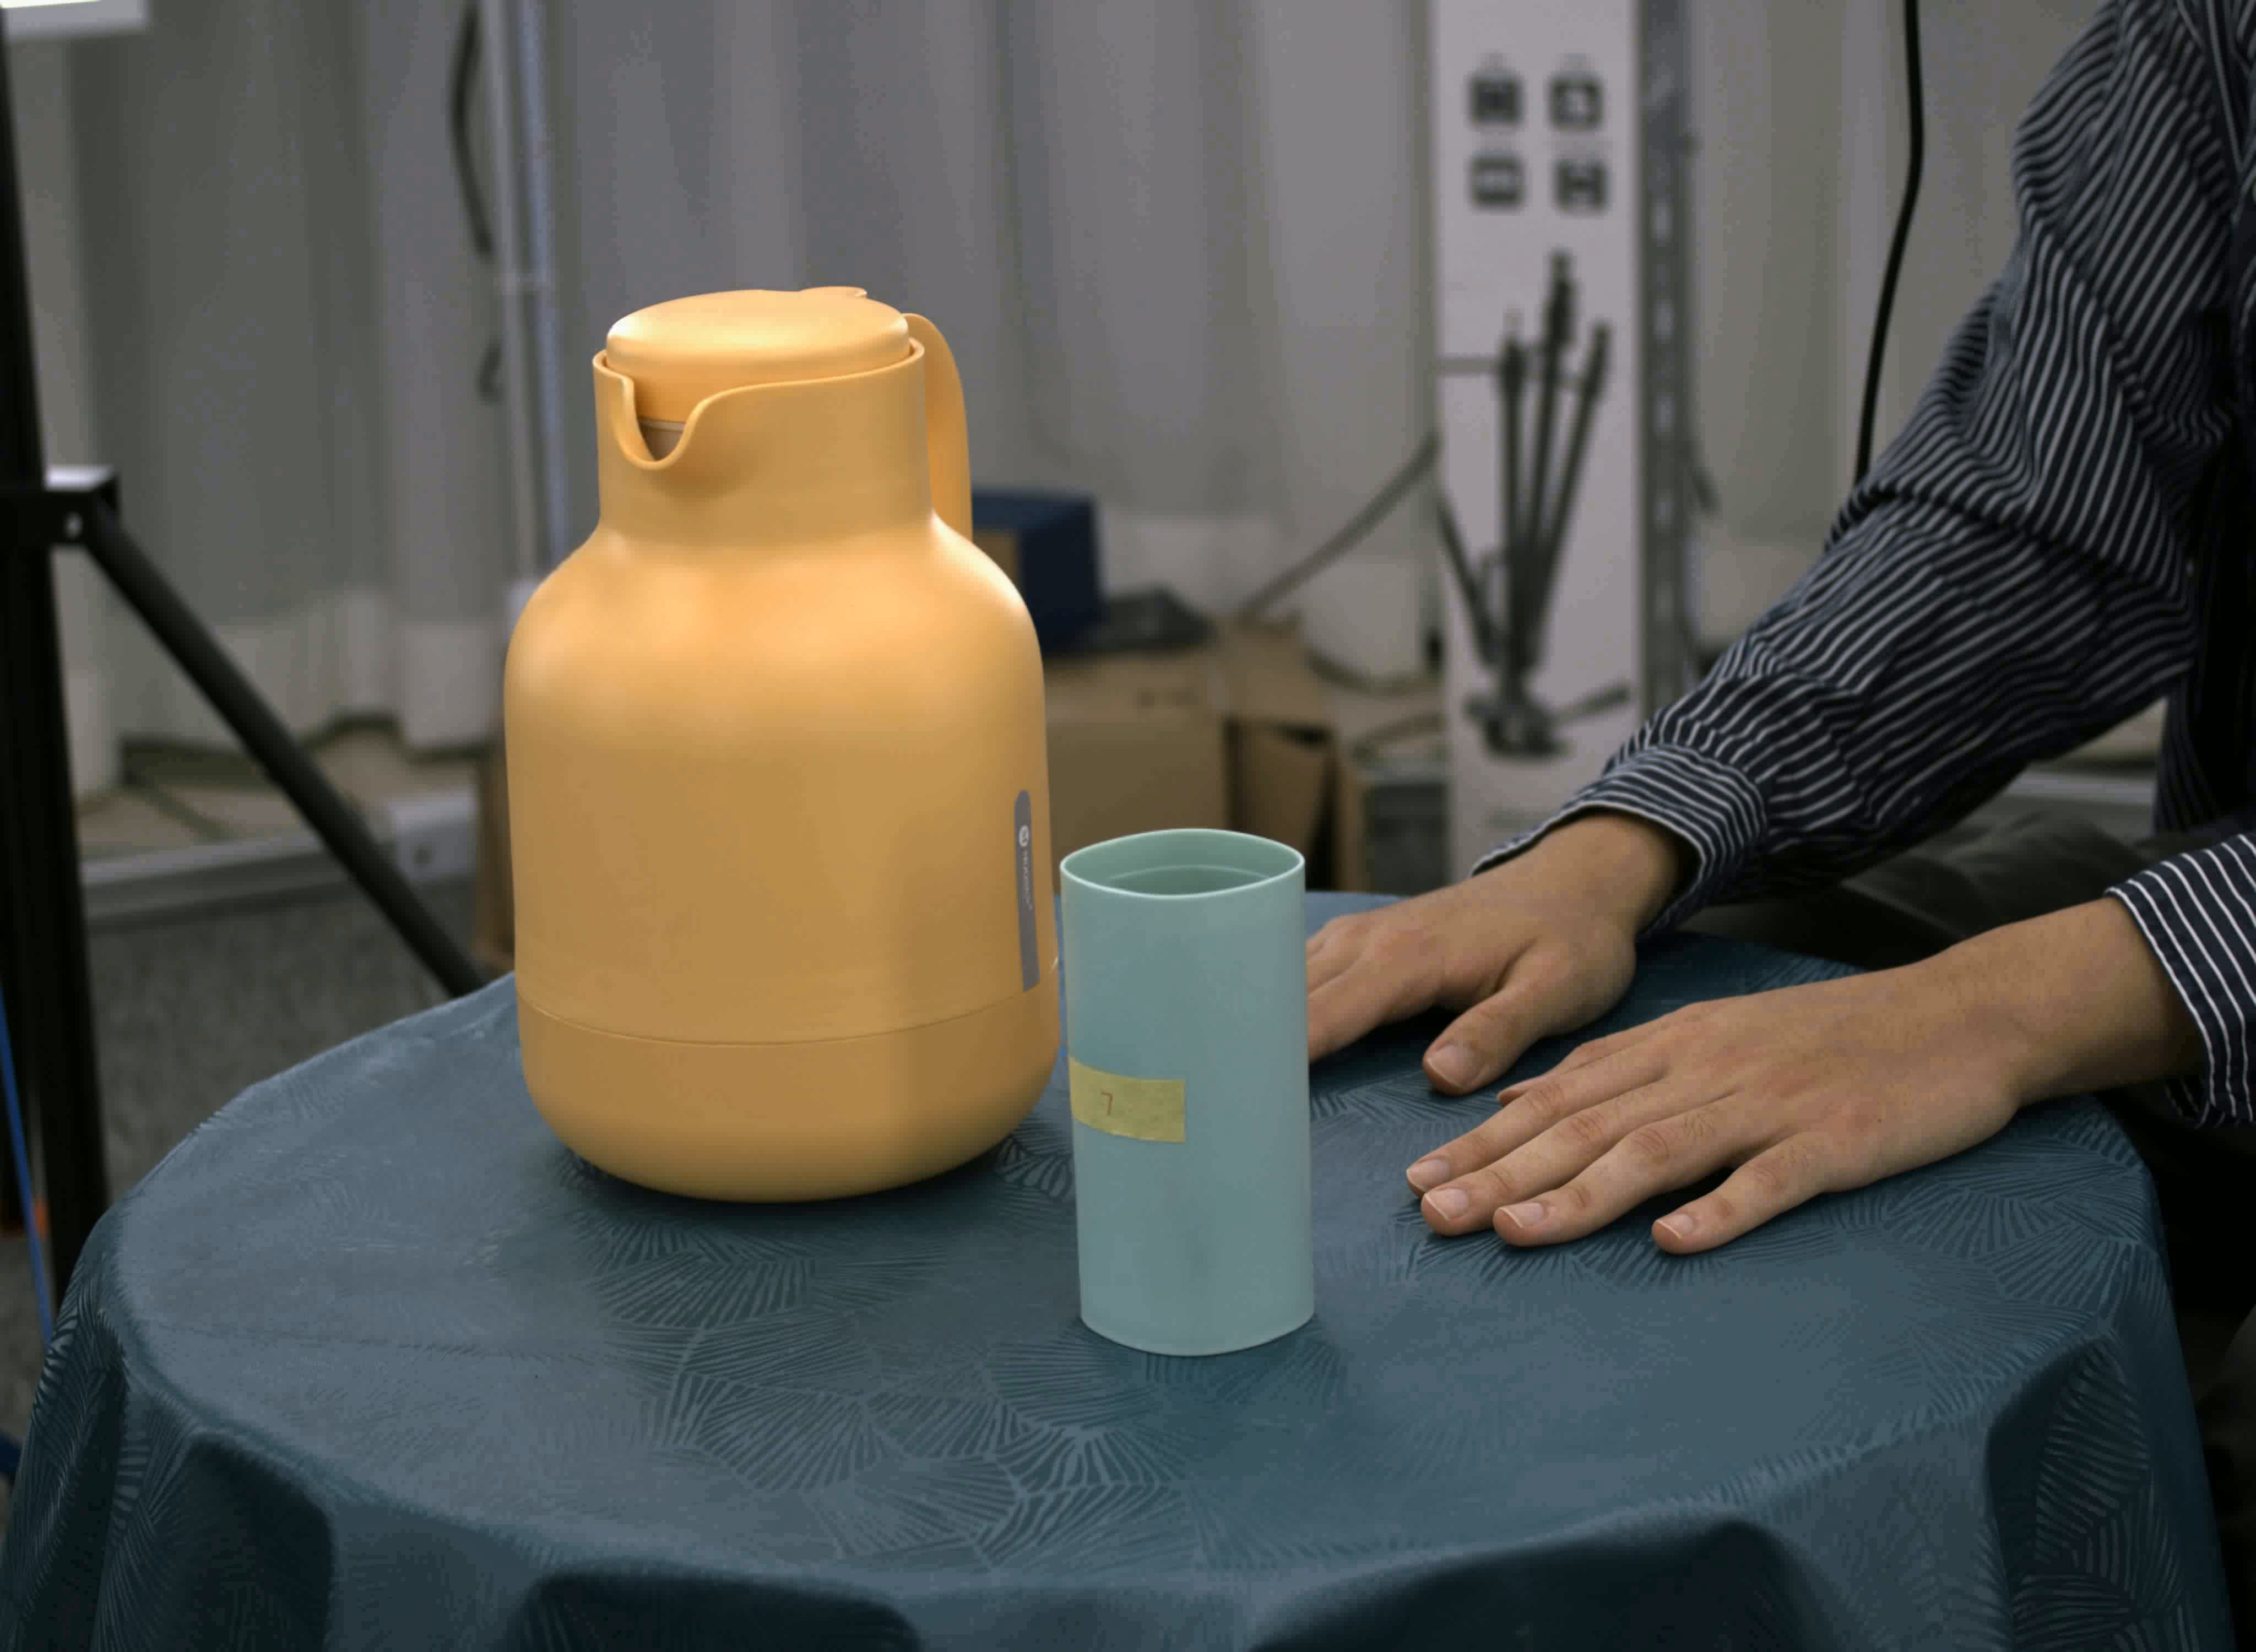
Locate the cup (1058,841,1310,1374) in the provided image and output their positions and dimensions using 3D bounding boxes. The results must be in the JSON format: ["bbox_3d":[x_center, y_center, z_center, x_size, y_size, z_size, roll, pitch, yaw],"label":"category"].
[{"bbox_3d":[0.017,0.076,1.448,0.066,0.132,0.067,-3,15,-1],"label":"cup"}]

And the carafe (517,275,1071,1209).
[{"bbox_3d":[-0.092,-0.033,1.590,0.165,0.260,0.200,4,18,20],"label":"carafe"}]
